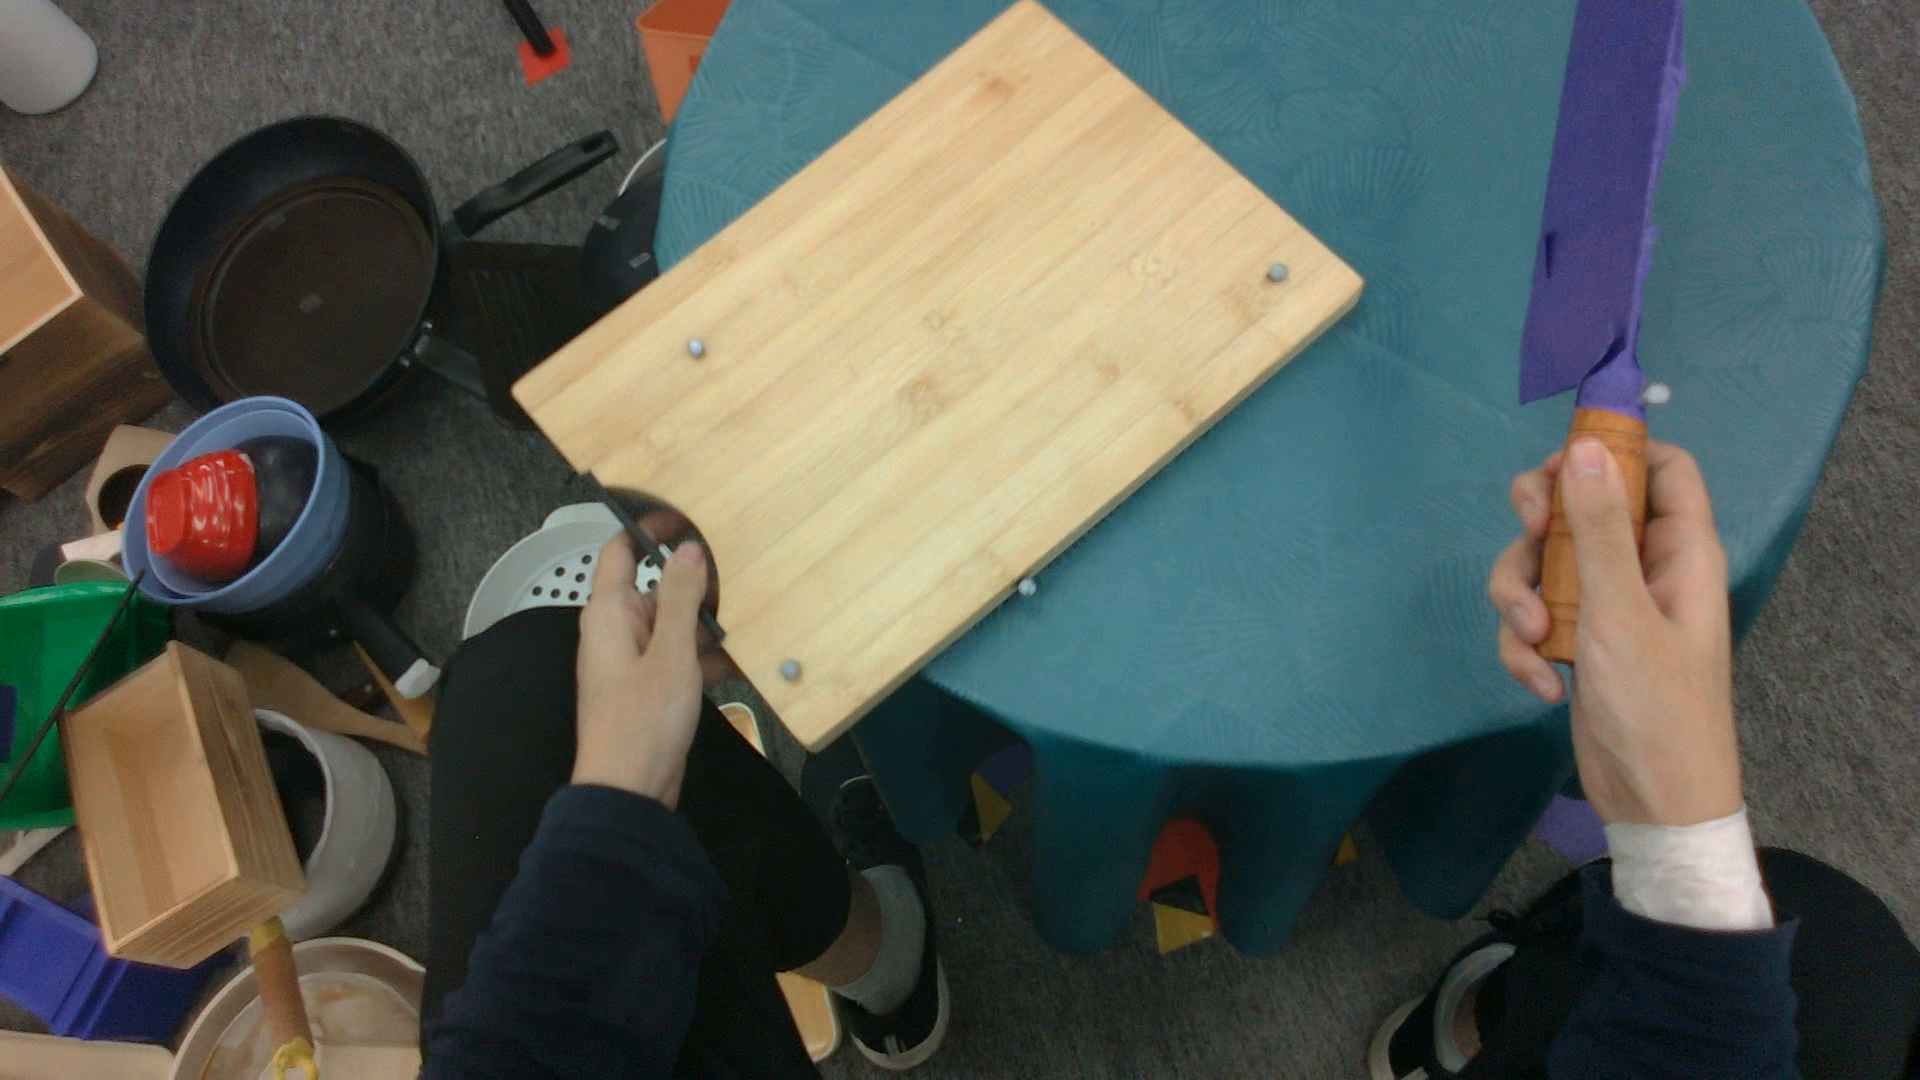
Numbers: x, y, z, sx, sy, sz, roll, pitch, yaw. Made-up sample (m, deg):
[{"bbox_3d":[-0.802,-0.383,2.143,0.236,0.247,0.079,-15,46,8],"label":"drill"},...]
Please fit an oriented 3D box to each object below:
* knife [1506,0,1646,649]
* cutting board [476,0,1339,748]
[{"bbox_3d":[0.244,-0.116,0.533,0.032,0.104,0.315,10,90,10],"label":"knife"},{"bbox_3d":[-0.025,-0.100,0.667,0.349,0.023,0.251,-40,72,-10],"label":"cutting board"}]
